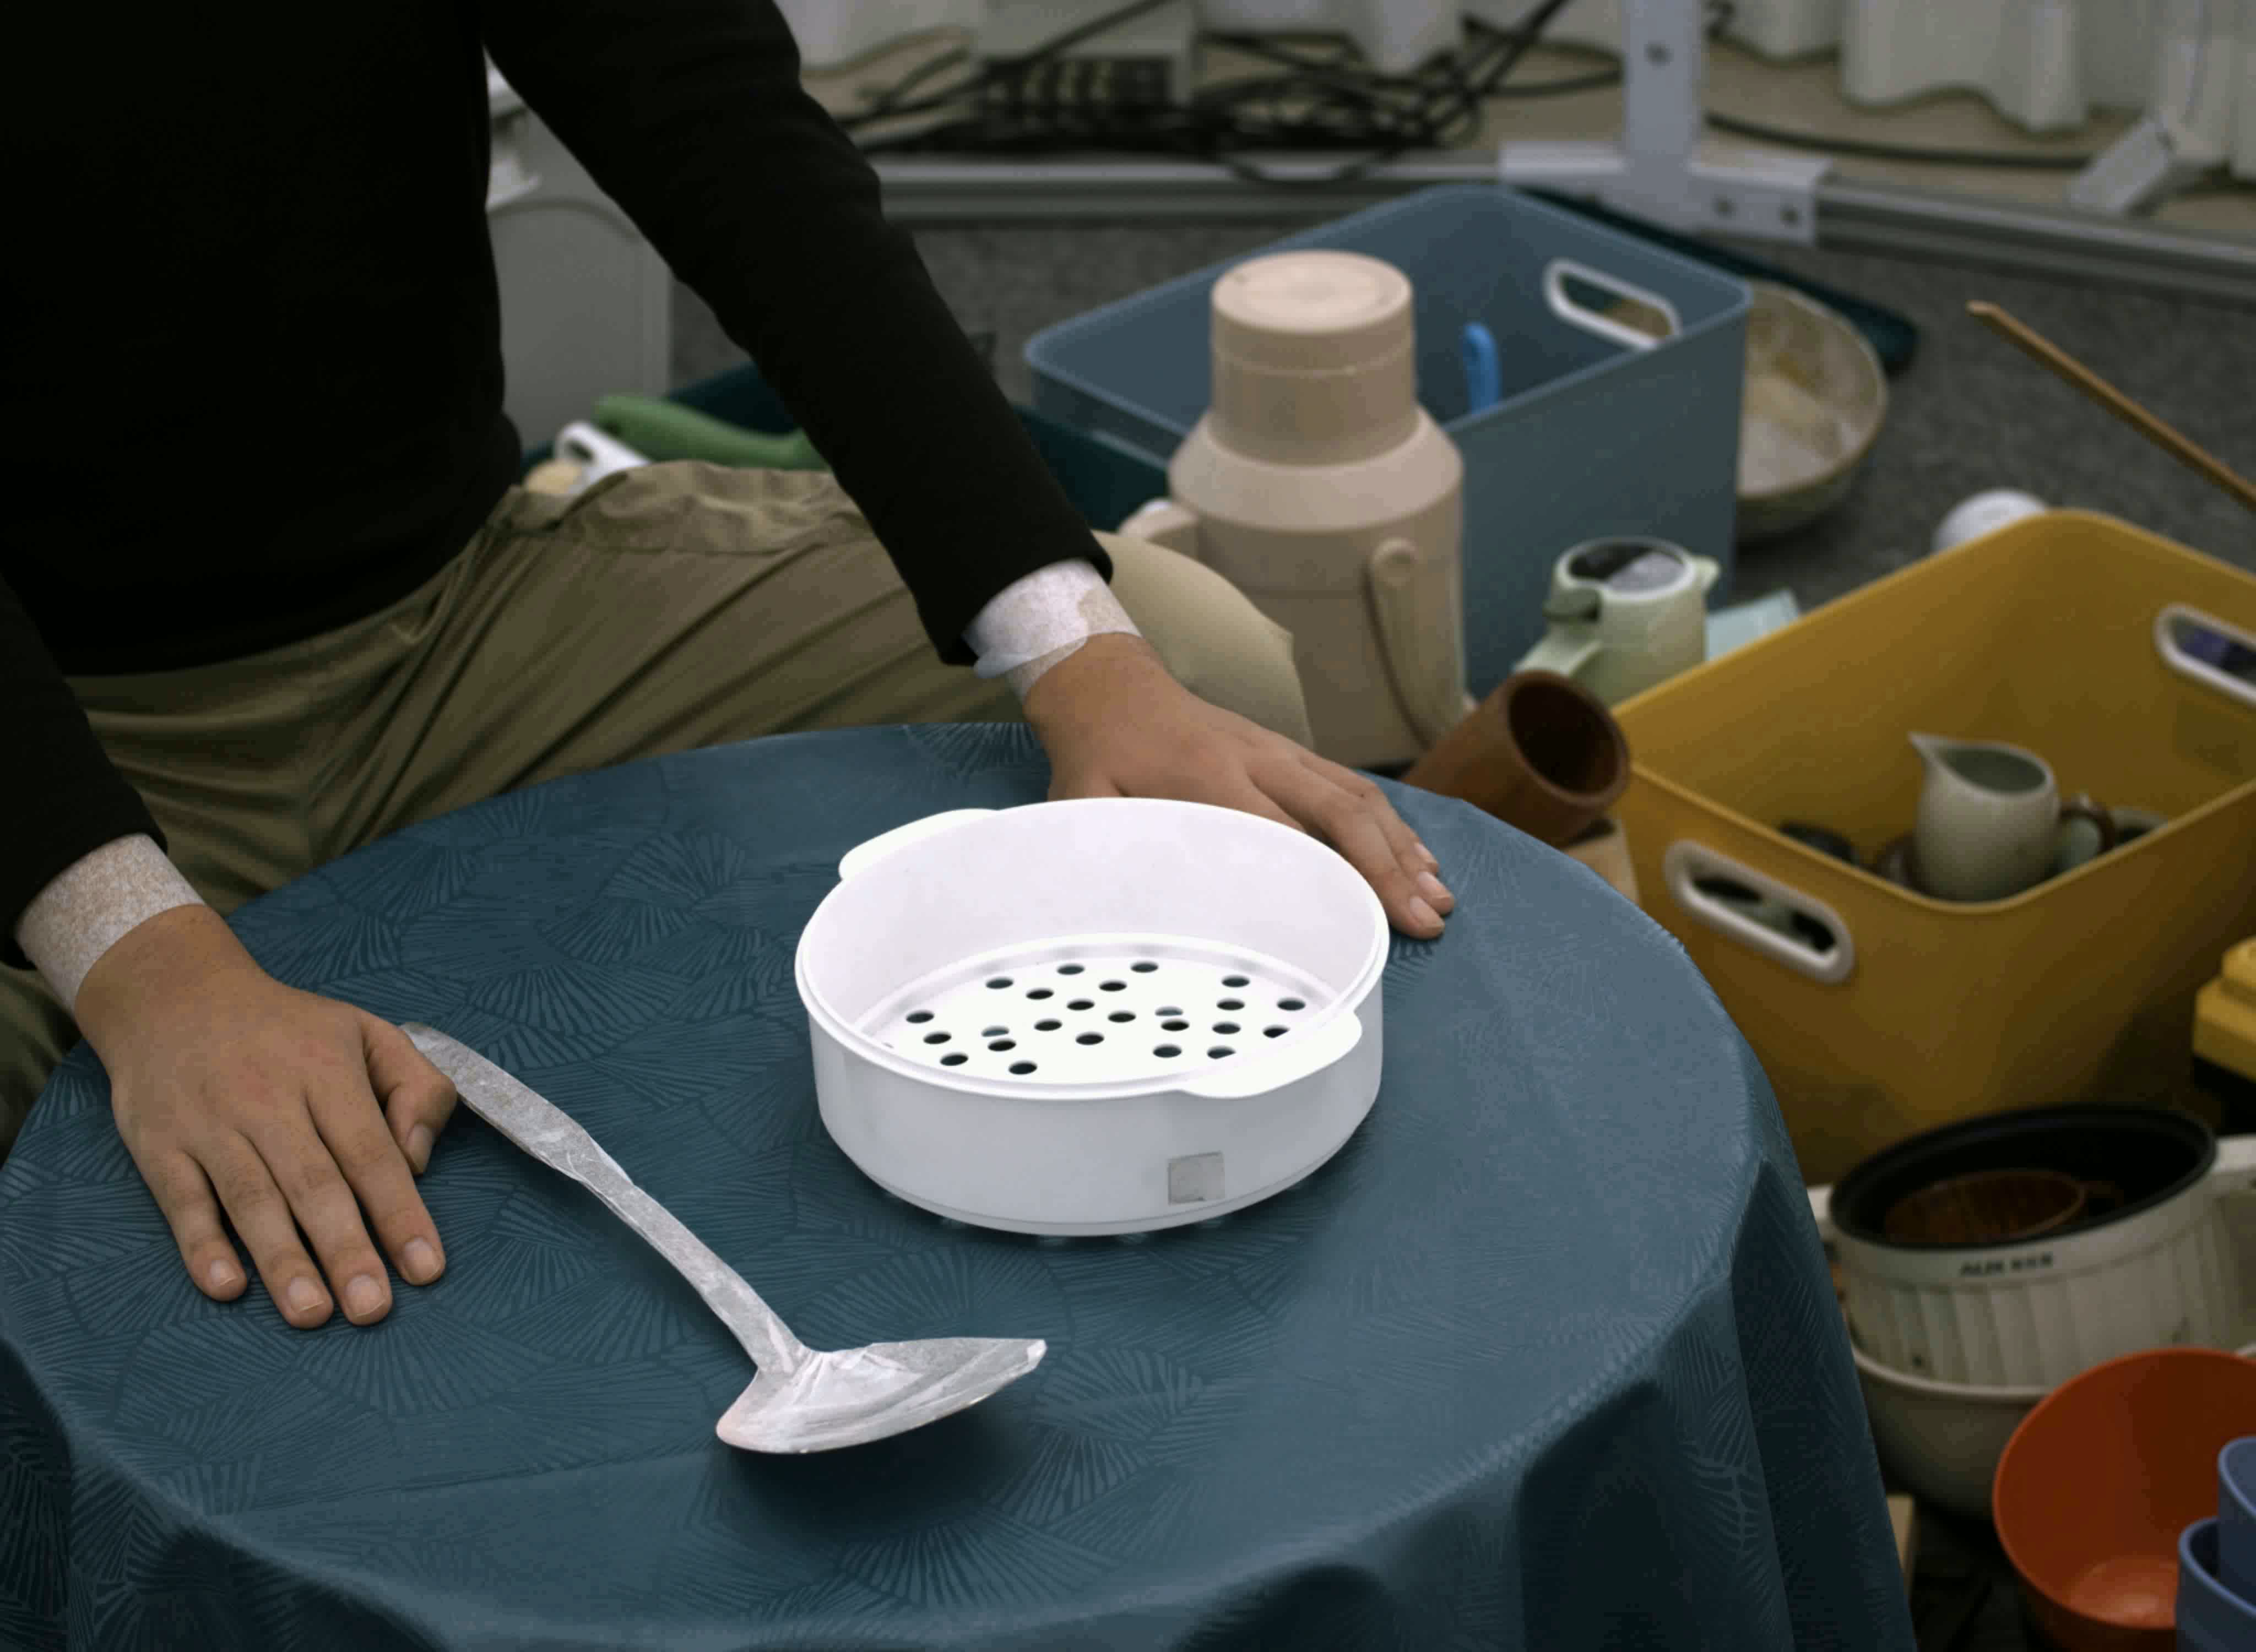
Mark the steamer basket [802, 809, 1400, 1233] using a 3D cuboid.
[{"bbox_3d":[-0.008,0.066,1.894,0.203,0.068,0.231,-20,31,-32],"label":"steamer basket"}]

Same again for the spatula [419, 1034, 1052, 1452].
[{"bbox_3d":[-0.151,0.126,1.826,0.099,0.044,0.366,-21,32,-27],"label":"spatula"}]
